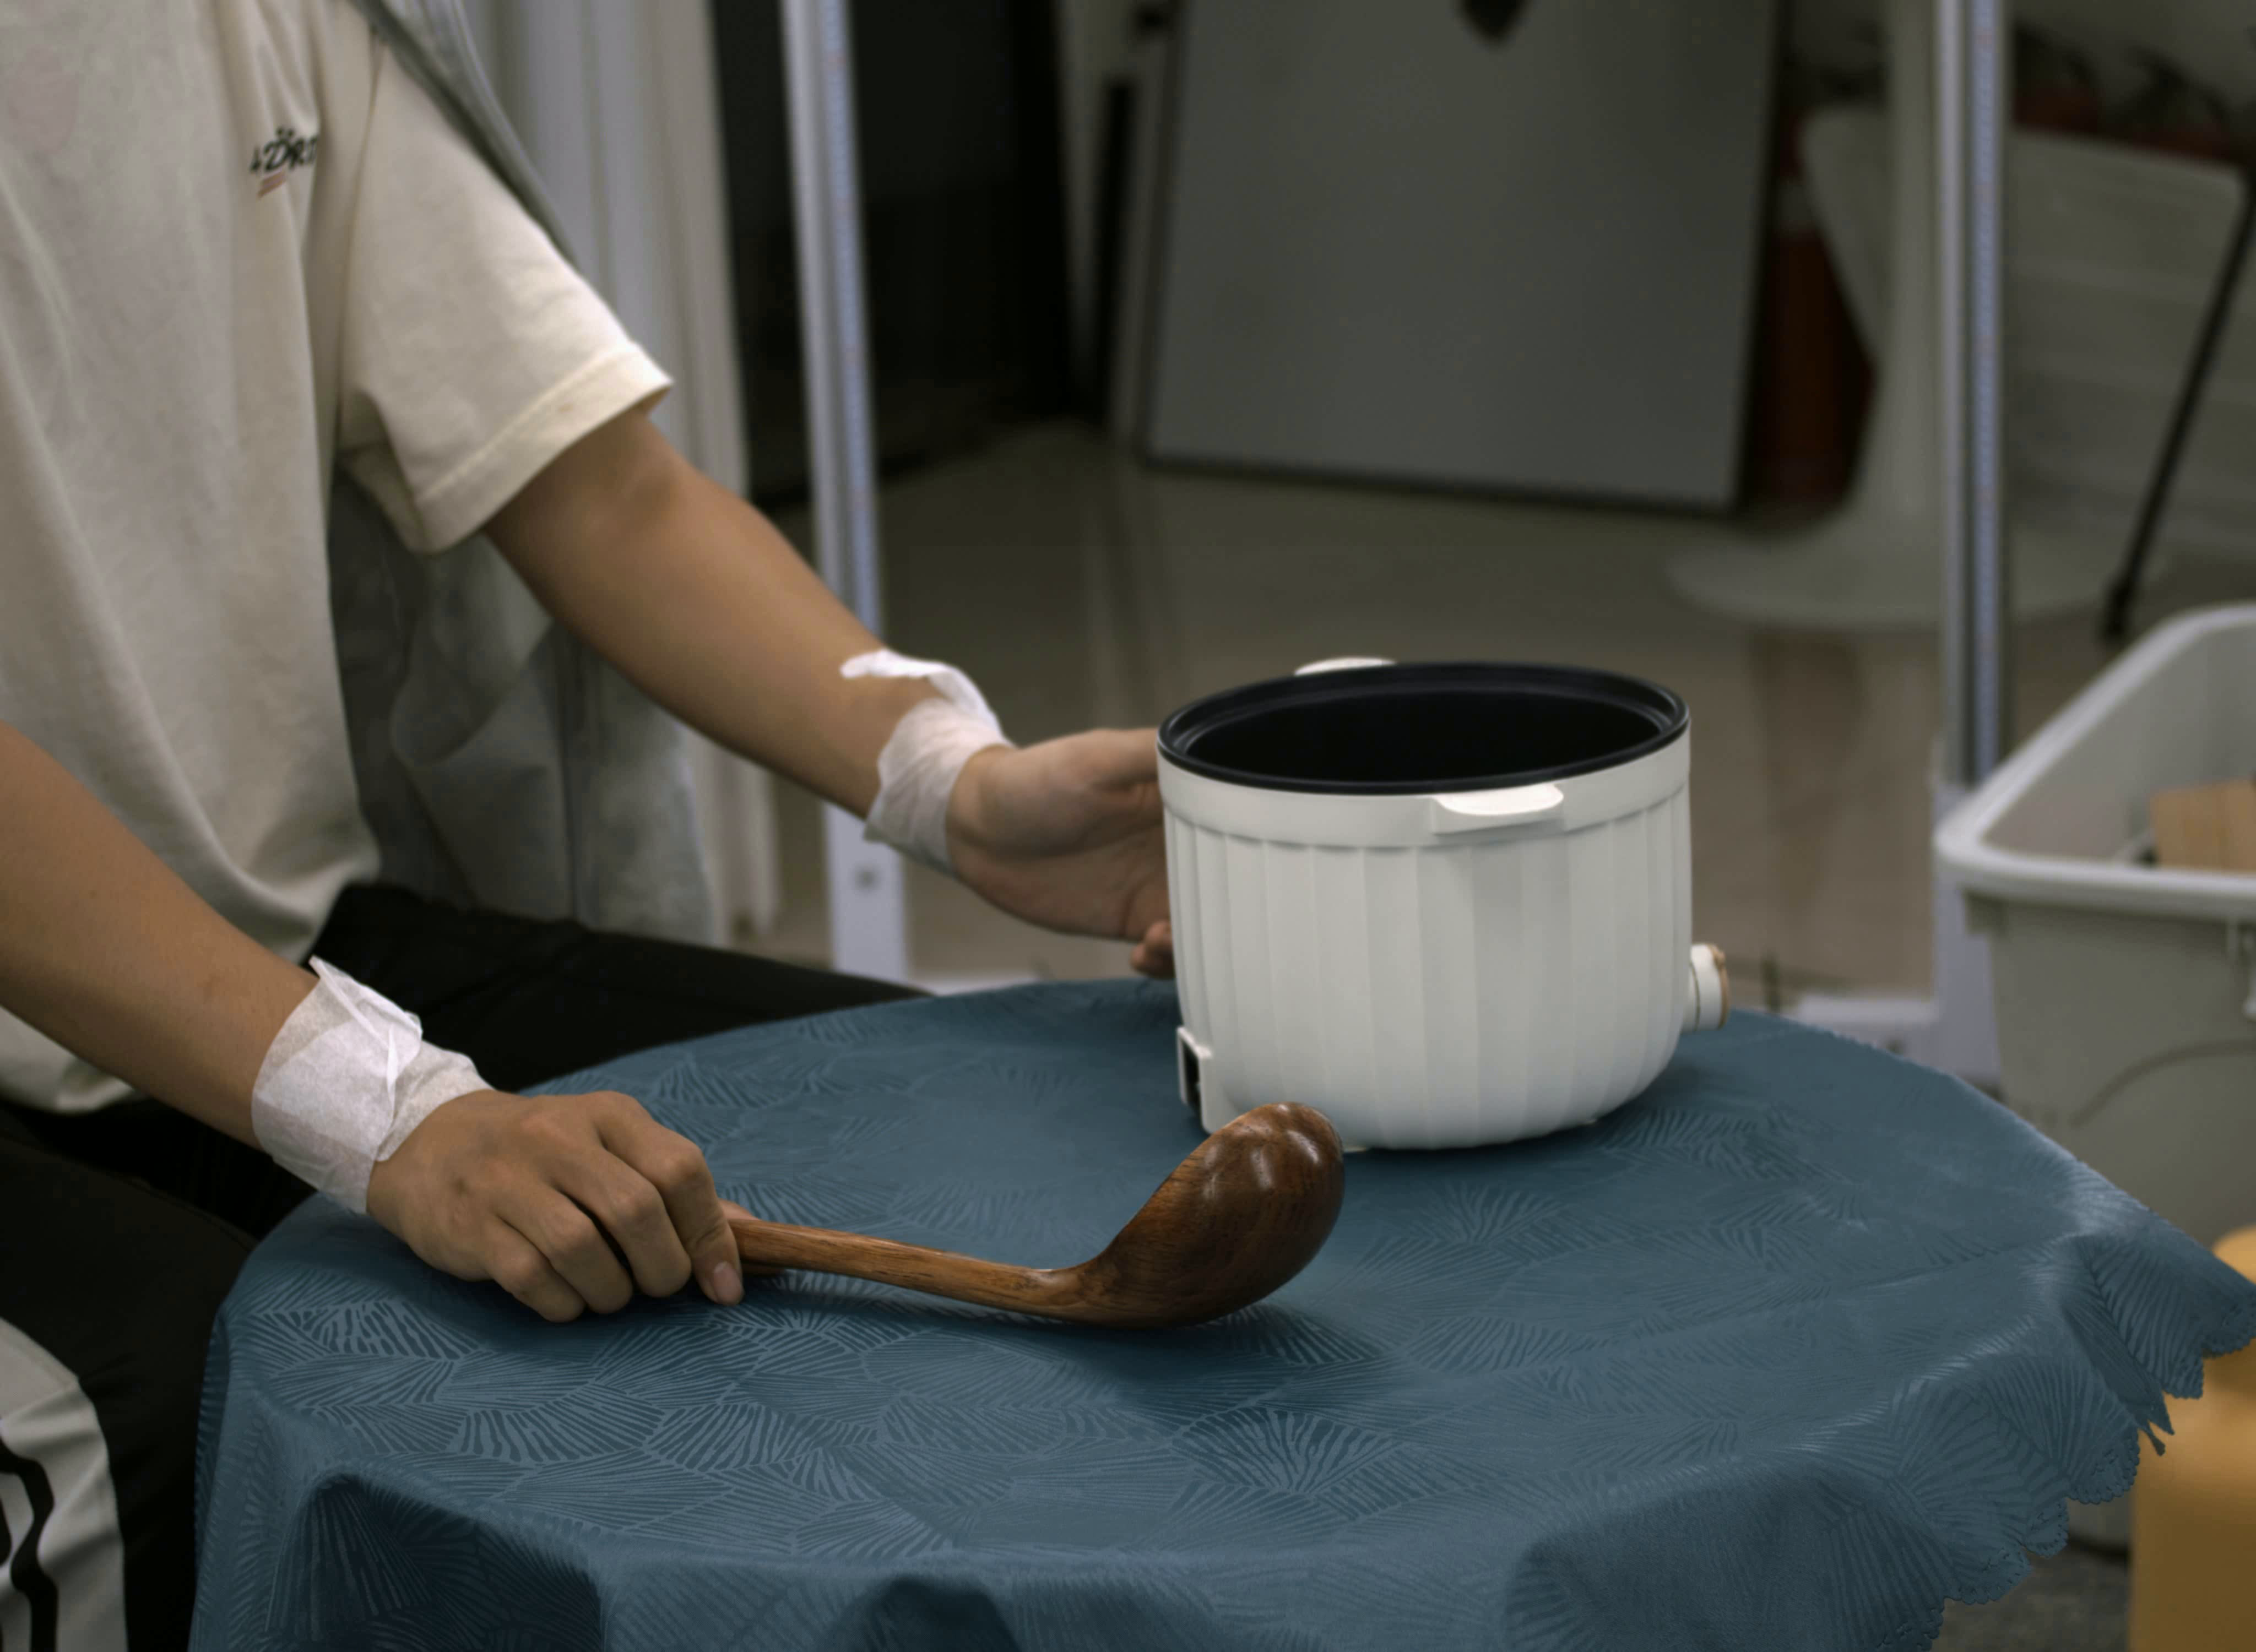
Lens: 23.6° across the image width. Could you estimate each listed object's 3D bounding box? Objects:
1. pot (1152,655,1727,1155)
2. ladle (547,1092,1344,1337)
[{"bbox_3d":[0.107,0.027,1.833,0.187,0.144,0.242,-10,15,-10],"label":"pot"},{"bbox_3d":[-0.061,0.112,1.674,0.275,0.077,0.081,3,-16,31],"label":"ladle"}]
